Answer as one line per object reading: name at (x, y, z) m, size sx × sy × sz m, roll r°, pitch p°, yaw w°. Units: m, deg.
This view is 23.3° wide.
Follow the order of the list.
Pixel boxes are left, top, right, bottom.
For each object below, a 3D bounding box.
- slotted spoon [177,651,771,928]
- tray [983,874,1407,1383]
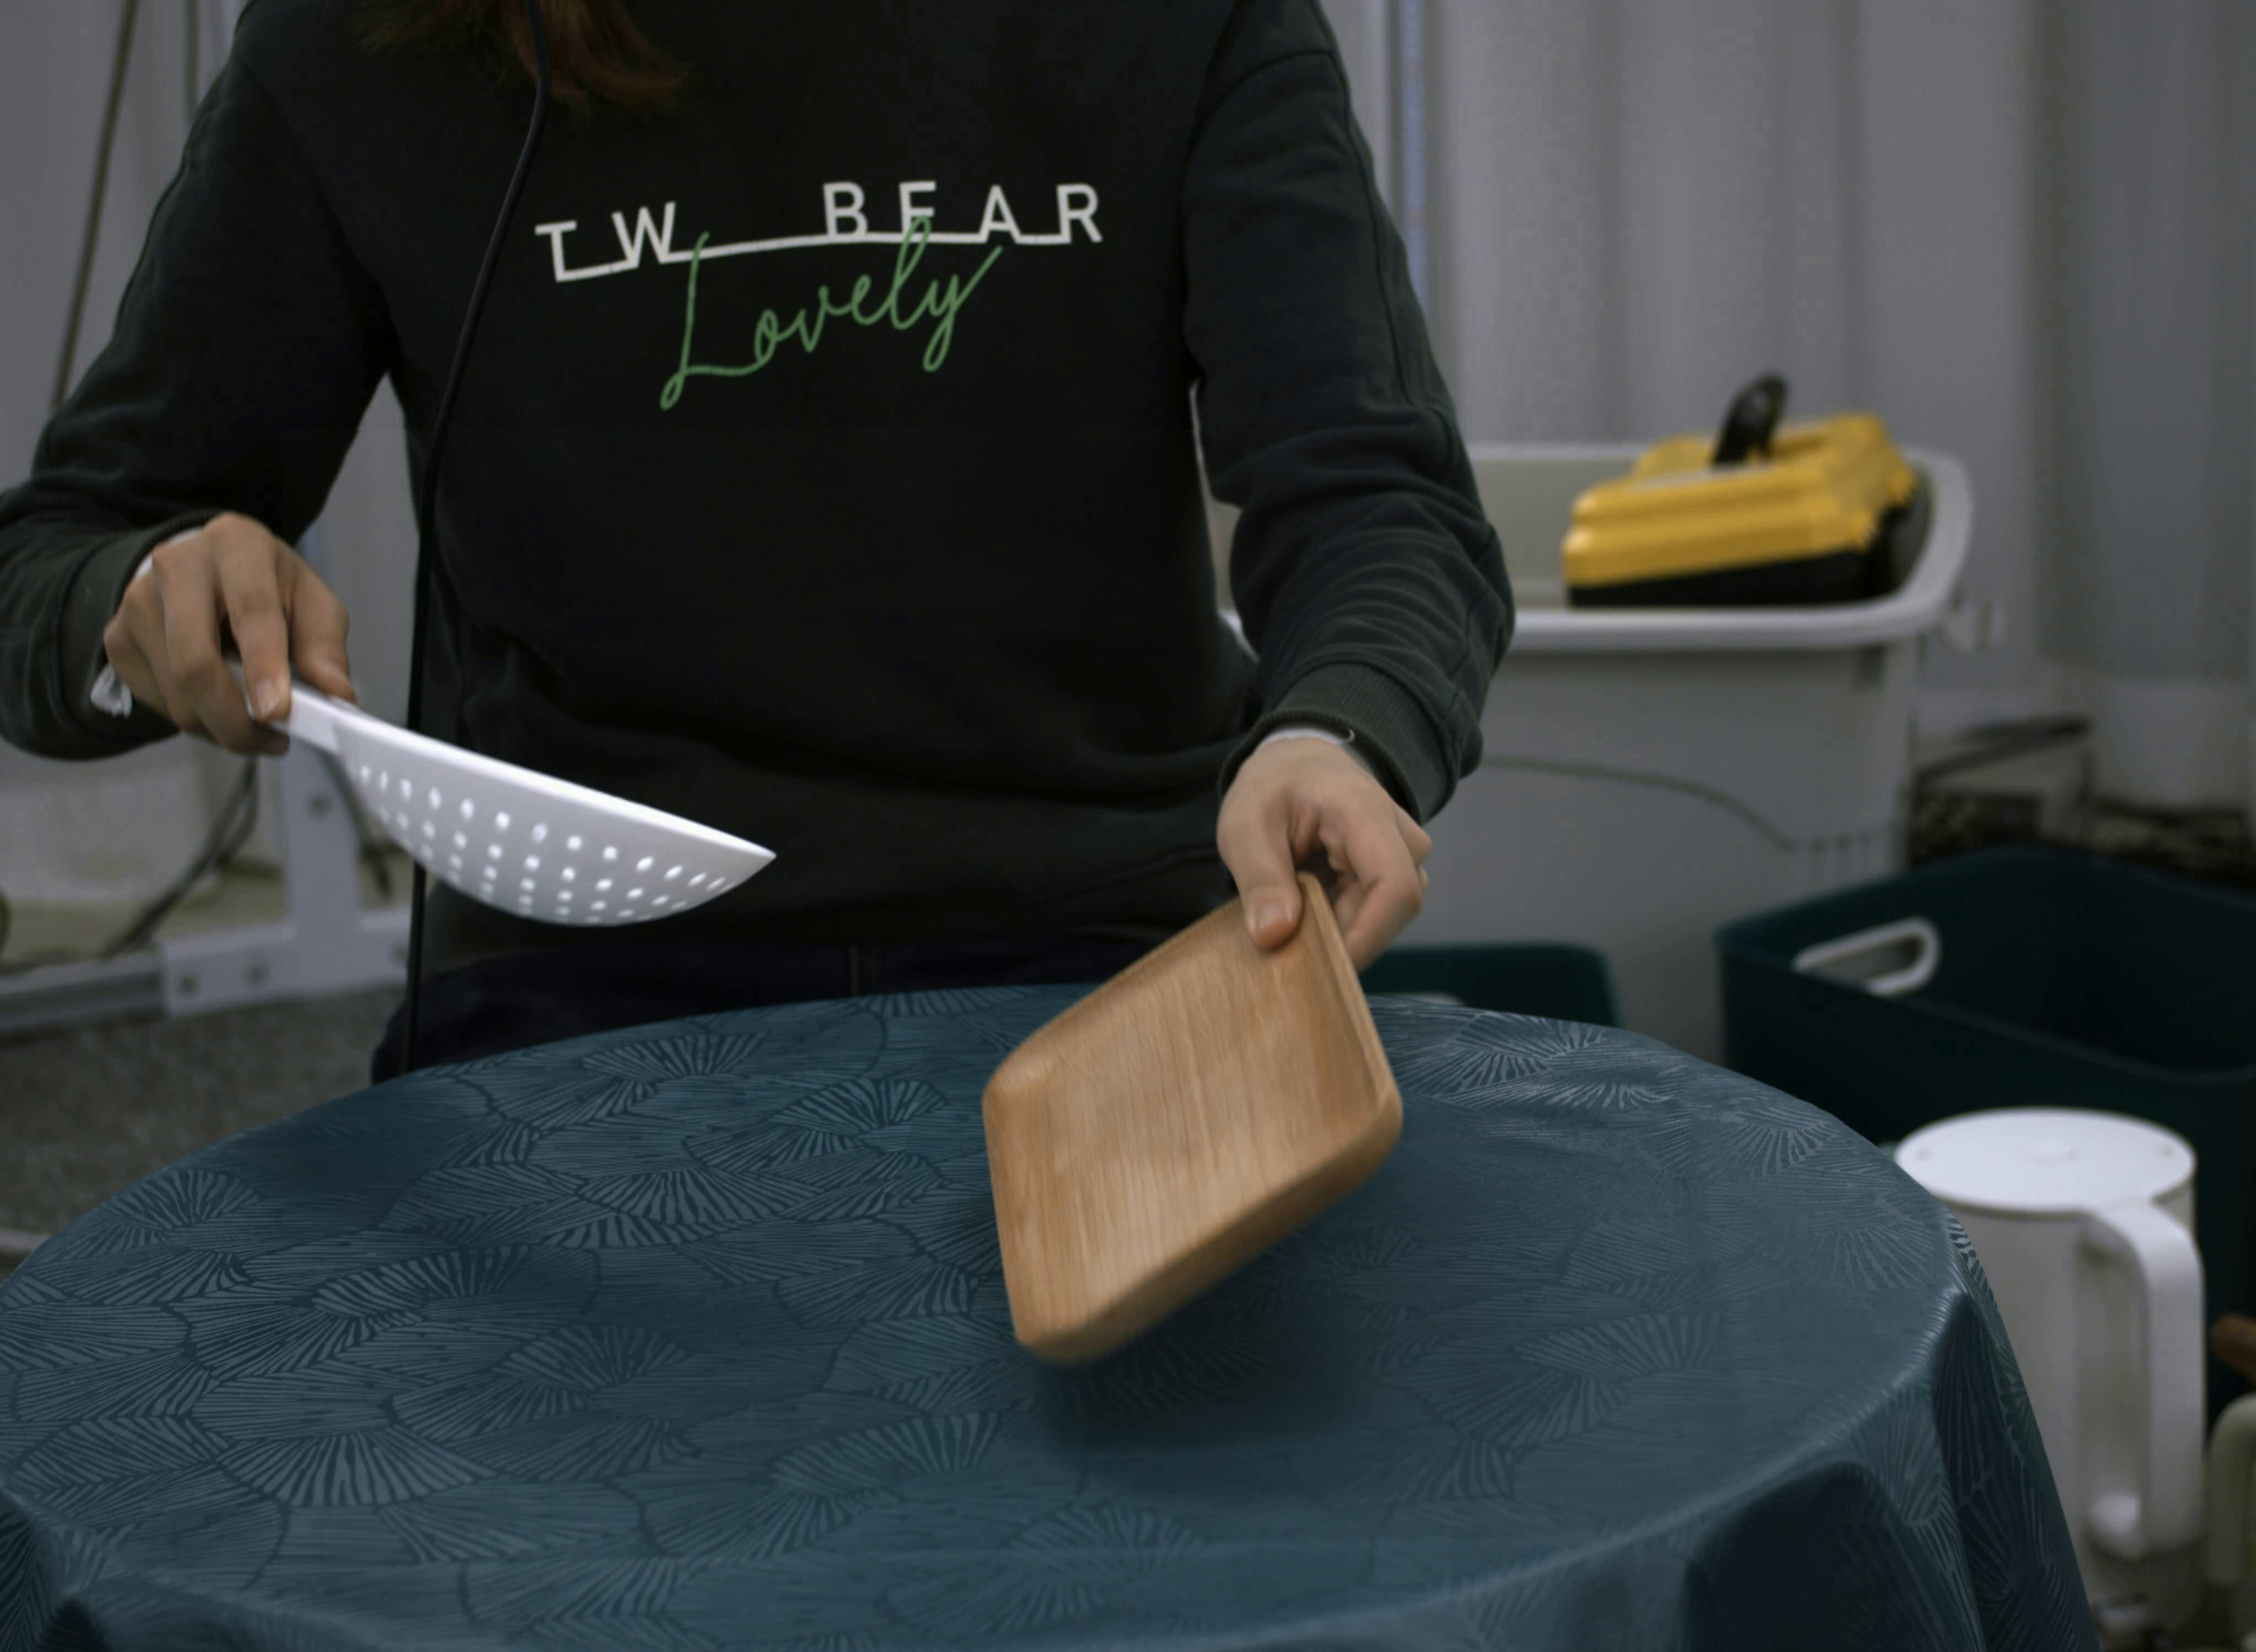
slotted spoon at (-0.225, -0.022, 1.698) m, size 0.135 × 0.046 × 0.353 m, roll 18°, pitch 5°, yaw -31°
tray at (0.017, 0.086, 1.602) m, size 0.130 × 0.023 × 0.252 m, roll -32°, pitch 15°, yaw 6°
